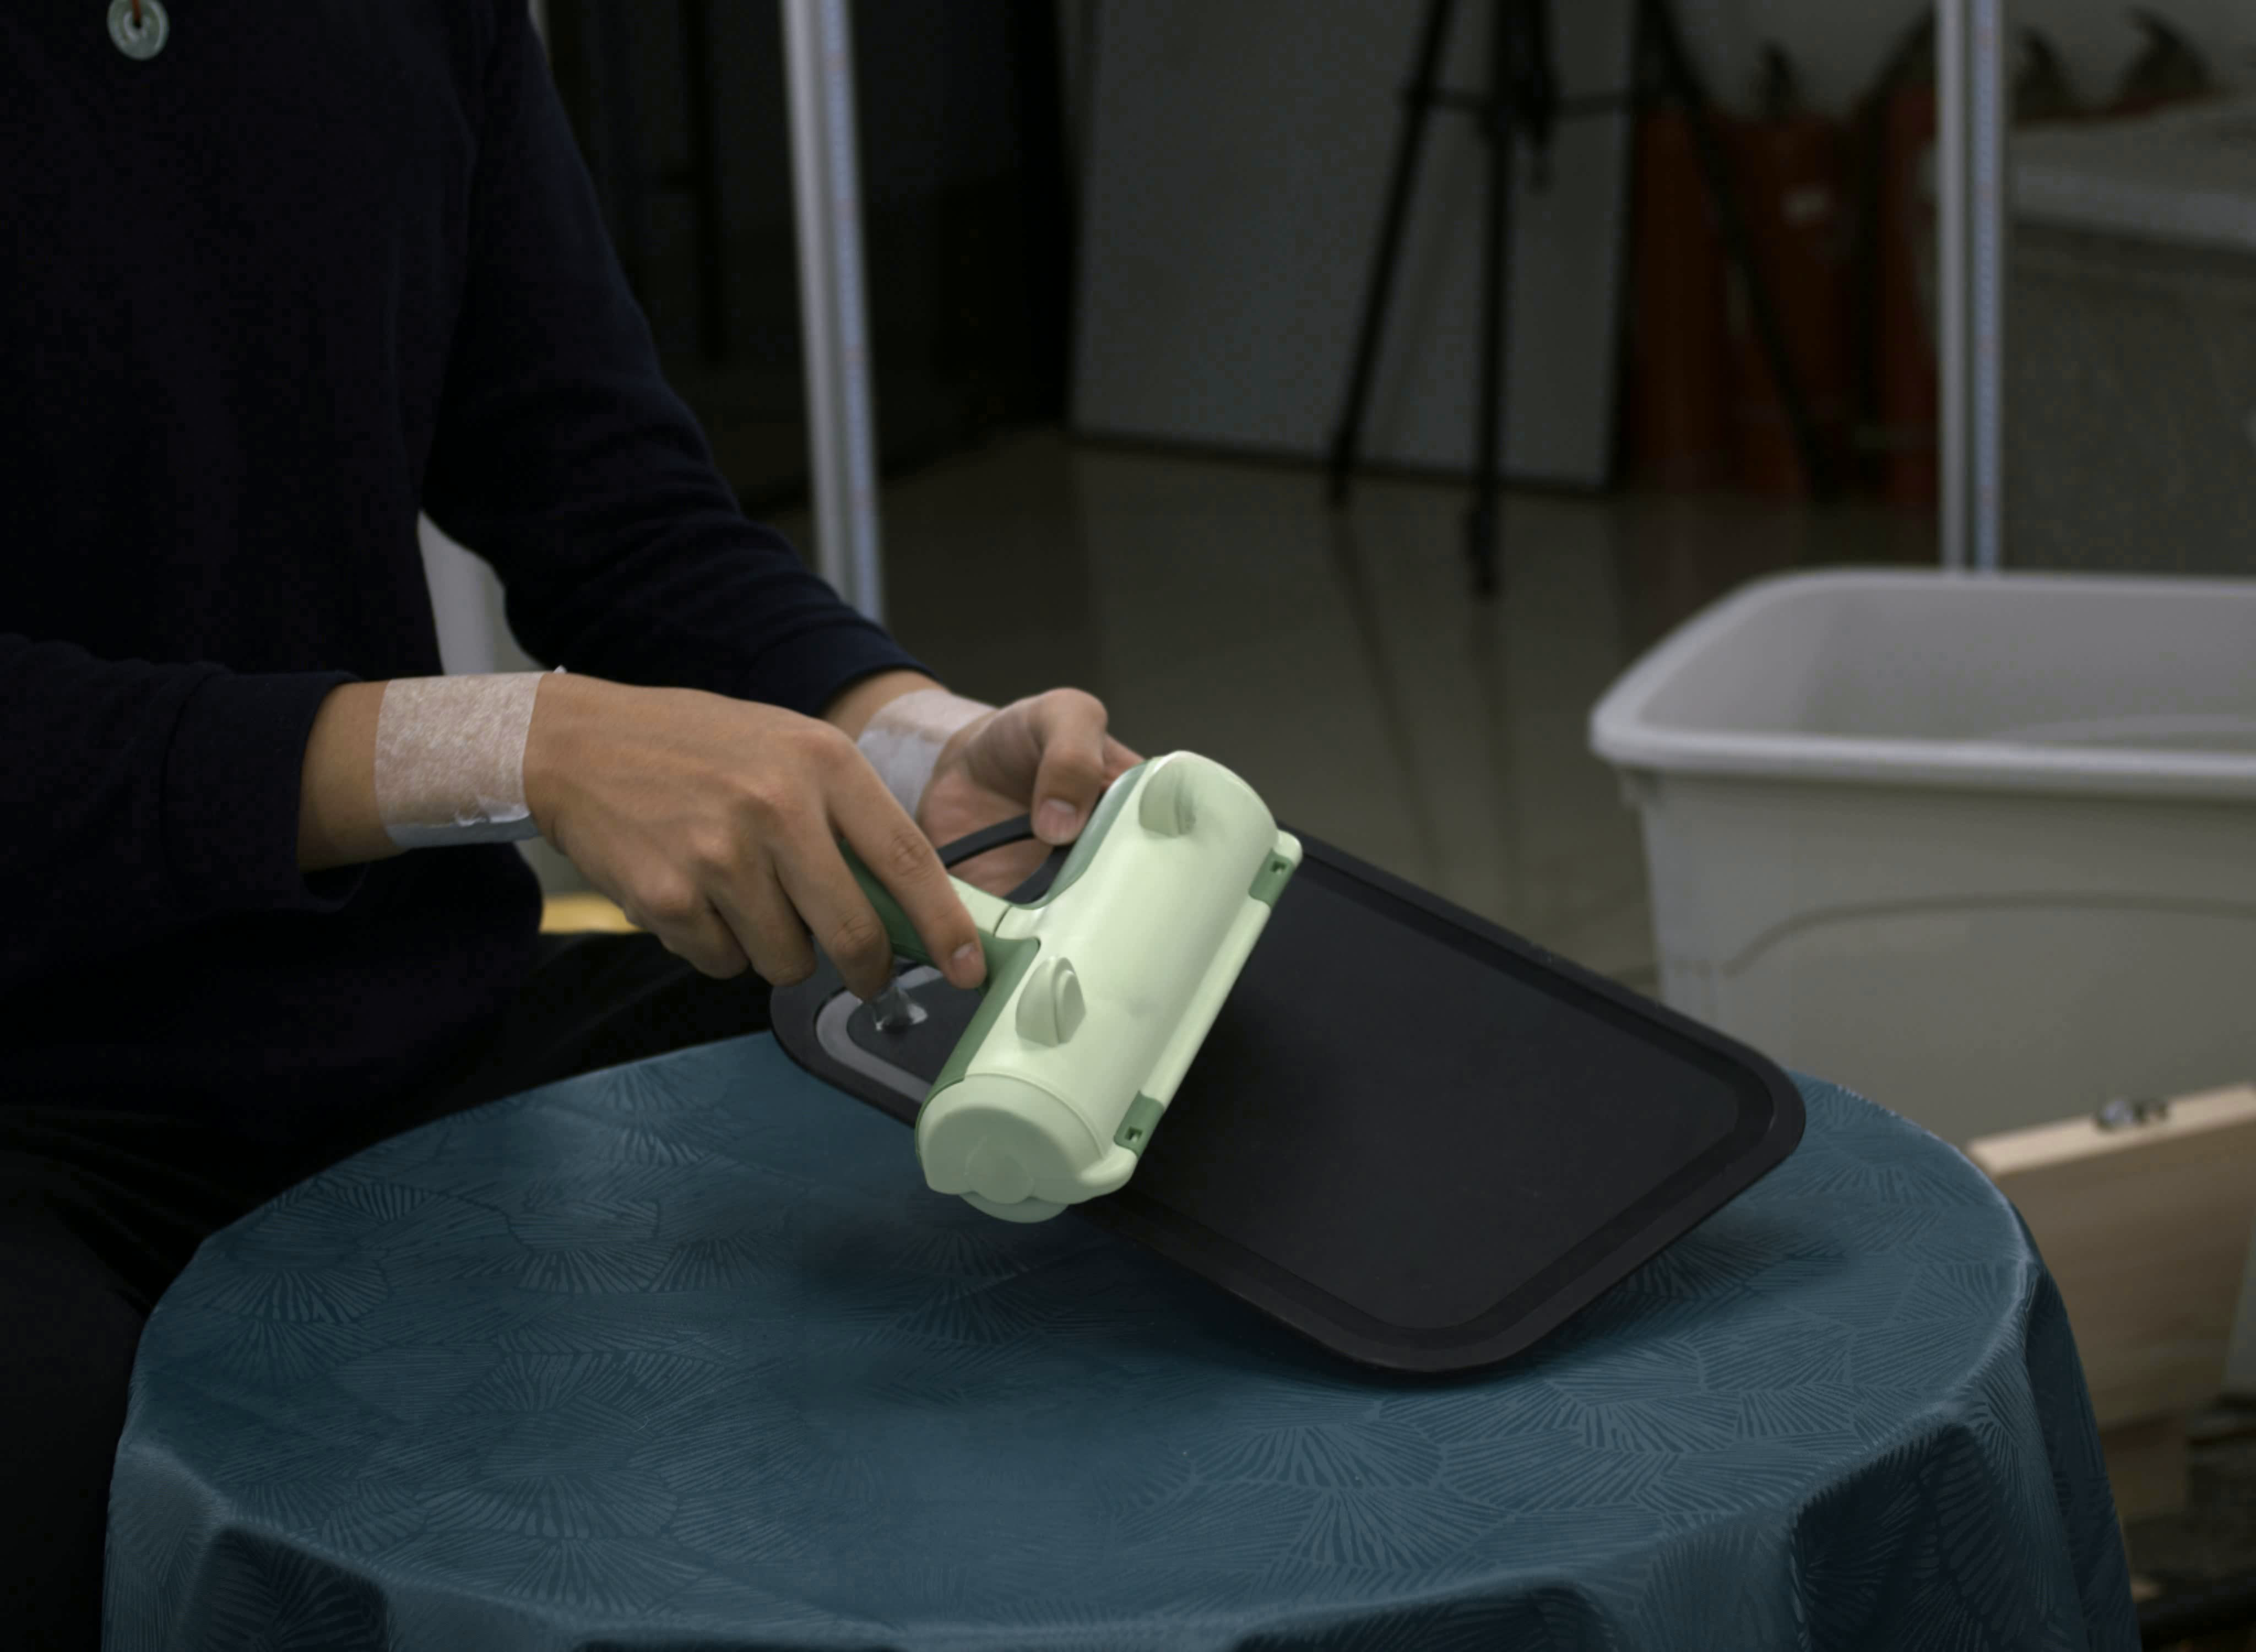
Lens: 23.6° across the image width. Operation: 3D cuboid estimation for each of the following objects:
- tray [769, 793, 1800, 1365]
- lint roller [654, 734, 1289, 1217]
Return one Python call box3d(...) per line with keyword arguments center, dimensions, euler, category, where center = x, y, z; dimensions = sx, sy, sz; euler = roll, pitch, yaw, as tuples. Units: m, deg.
box3d(center=(0.040, 0.069, 1.711), dimensions=(0.328, 0.010, 0.207), euler=(26, 41, 37), category="tray")
box3d(center=(-0.055, 0.013, 1.657), dimensions=(0.182, 0.083, 0.198), euler=(27, 38, 2), category="lint roller")
